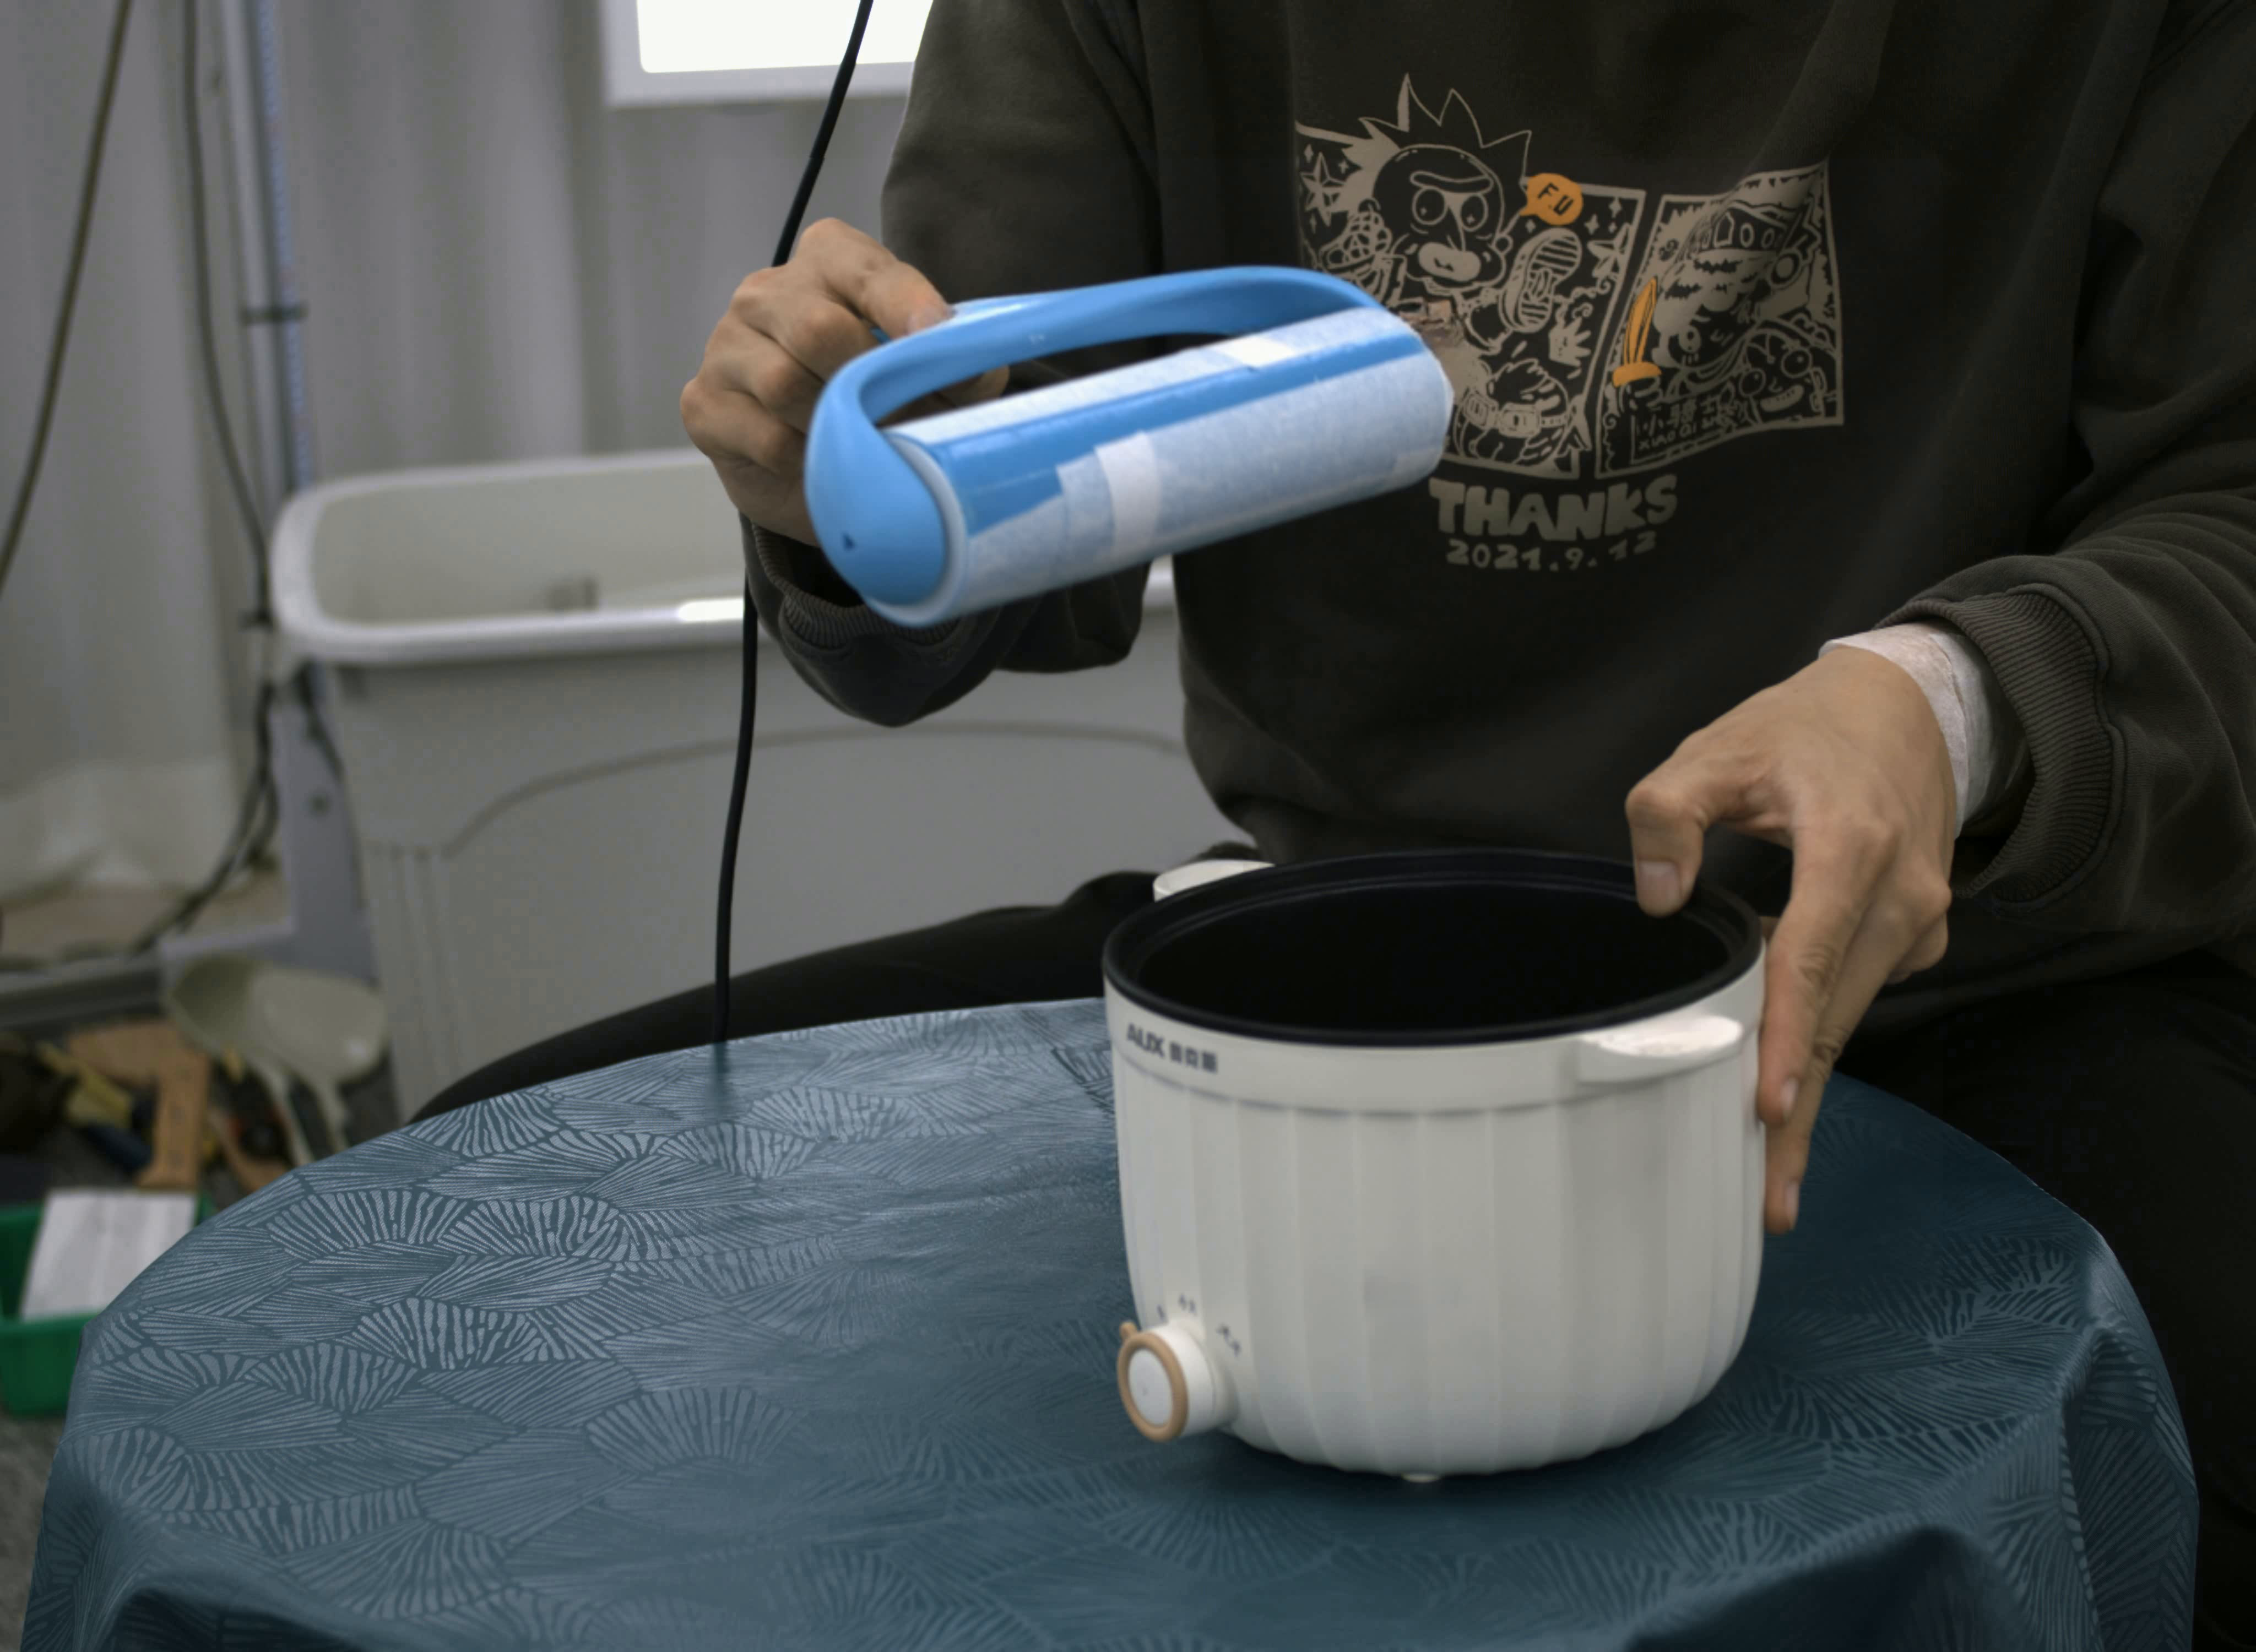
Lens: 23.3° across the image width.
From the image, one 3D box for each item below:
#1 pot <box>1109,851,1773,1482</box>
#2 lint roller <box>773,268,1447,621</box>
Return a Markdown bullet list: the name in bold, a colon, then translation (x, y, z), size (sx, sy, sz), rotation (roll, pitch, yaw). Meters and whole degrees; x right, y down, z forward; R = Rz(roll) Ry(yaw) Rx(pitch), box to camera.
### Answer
- **pot**: translation (0.084, 0.096, 1.510), size (0.189, 0.142, 0.242), rotation (-9, 14, -34)
- **lint roller**: translation (-0.038, -0.118, 1.562), size (0.181, 0.067, 0.229), rotation (17, 27, 39)
